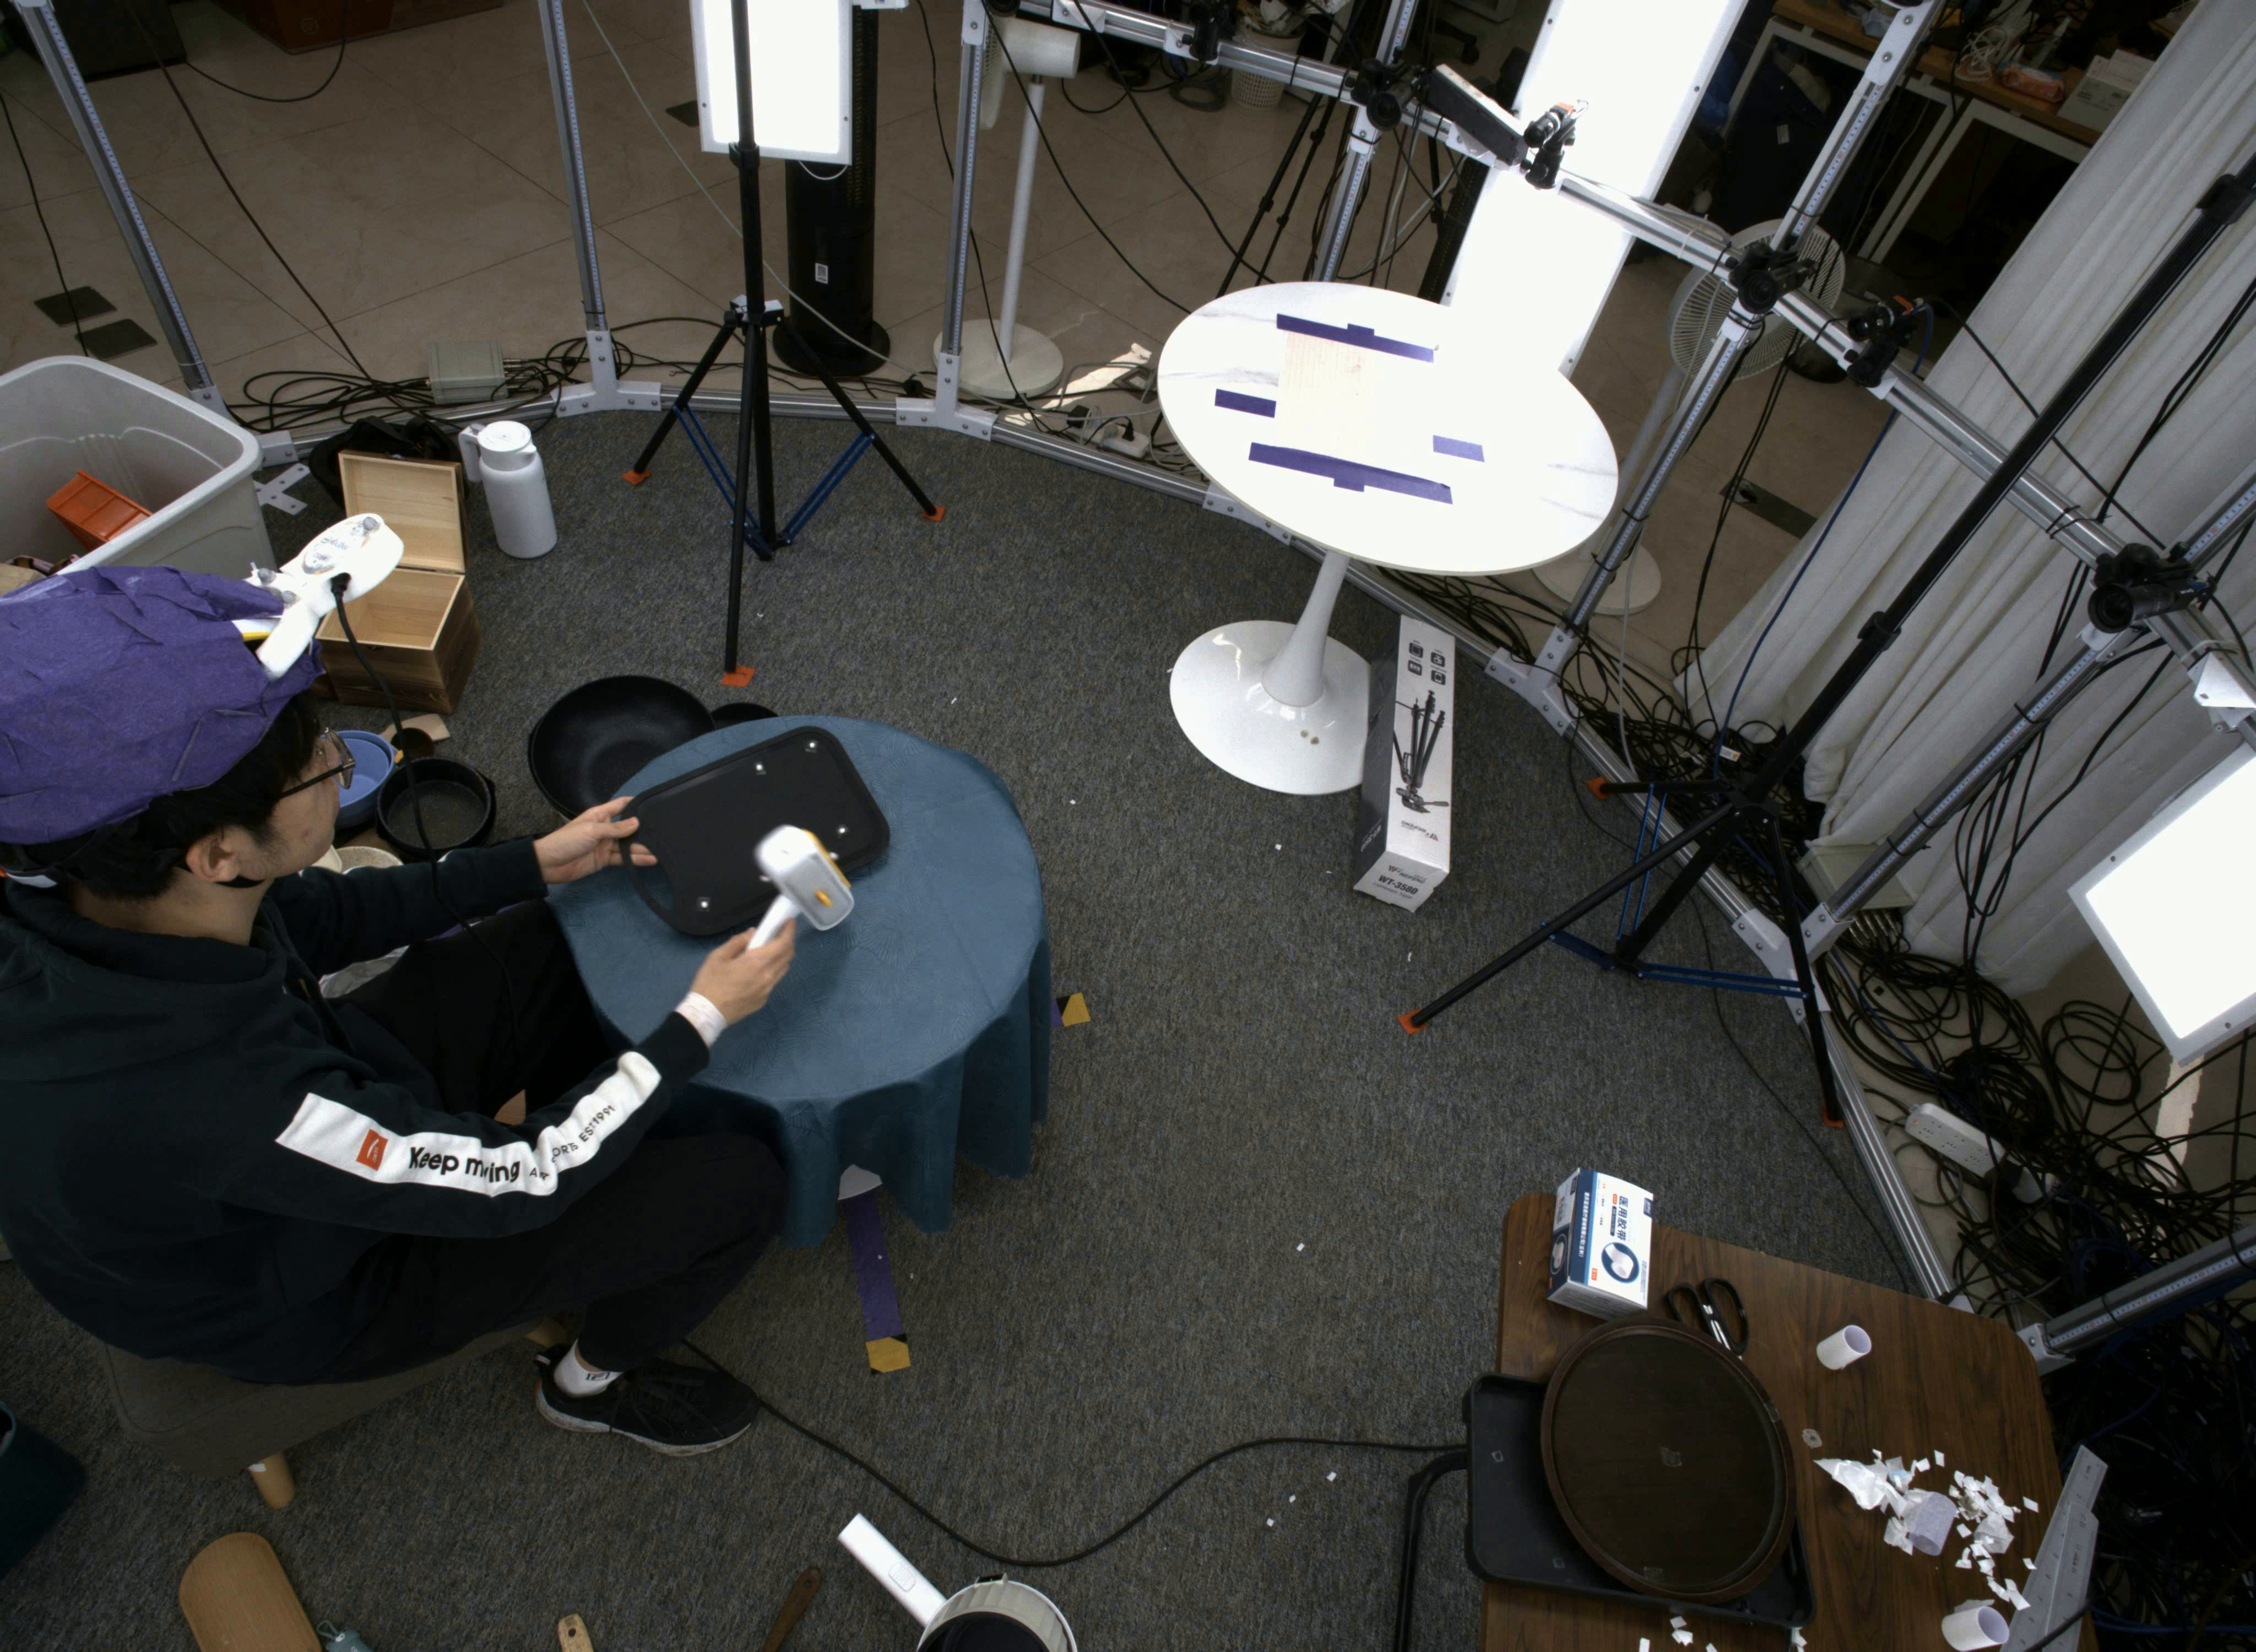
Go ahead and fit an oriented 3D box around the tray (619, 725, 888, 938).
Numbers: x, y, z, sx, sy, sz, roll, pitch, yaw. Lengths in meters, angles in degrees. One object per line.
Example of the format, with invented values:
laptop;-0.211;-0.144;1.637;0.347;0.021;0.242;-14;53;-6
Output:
tray;-0.480;0.003;1.646;0.327;0.010;0.210;-27;82;-30

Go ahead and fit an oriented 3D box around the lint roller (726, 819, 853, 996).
lint roller;-0.418;0.105;1.525;0.072;0.198;0.192;33;77;20
